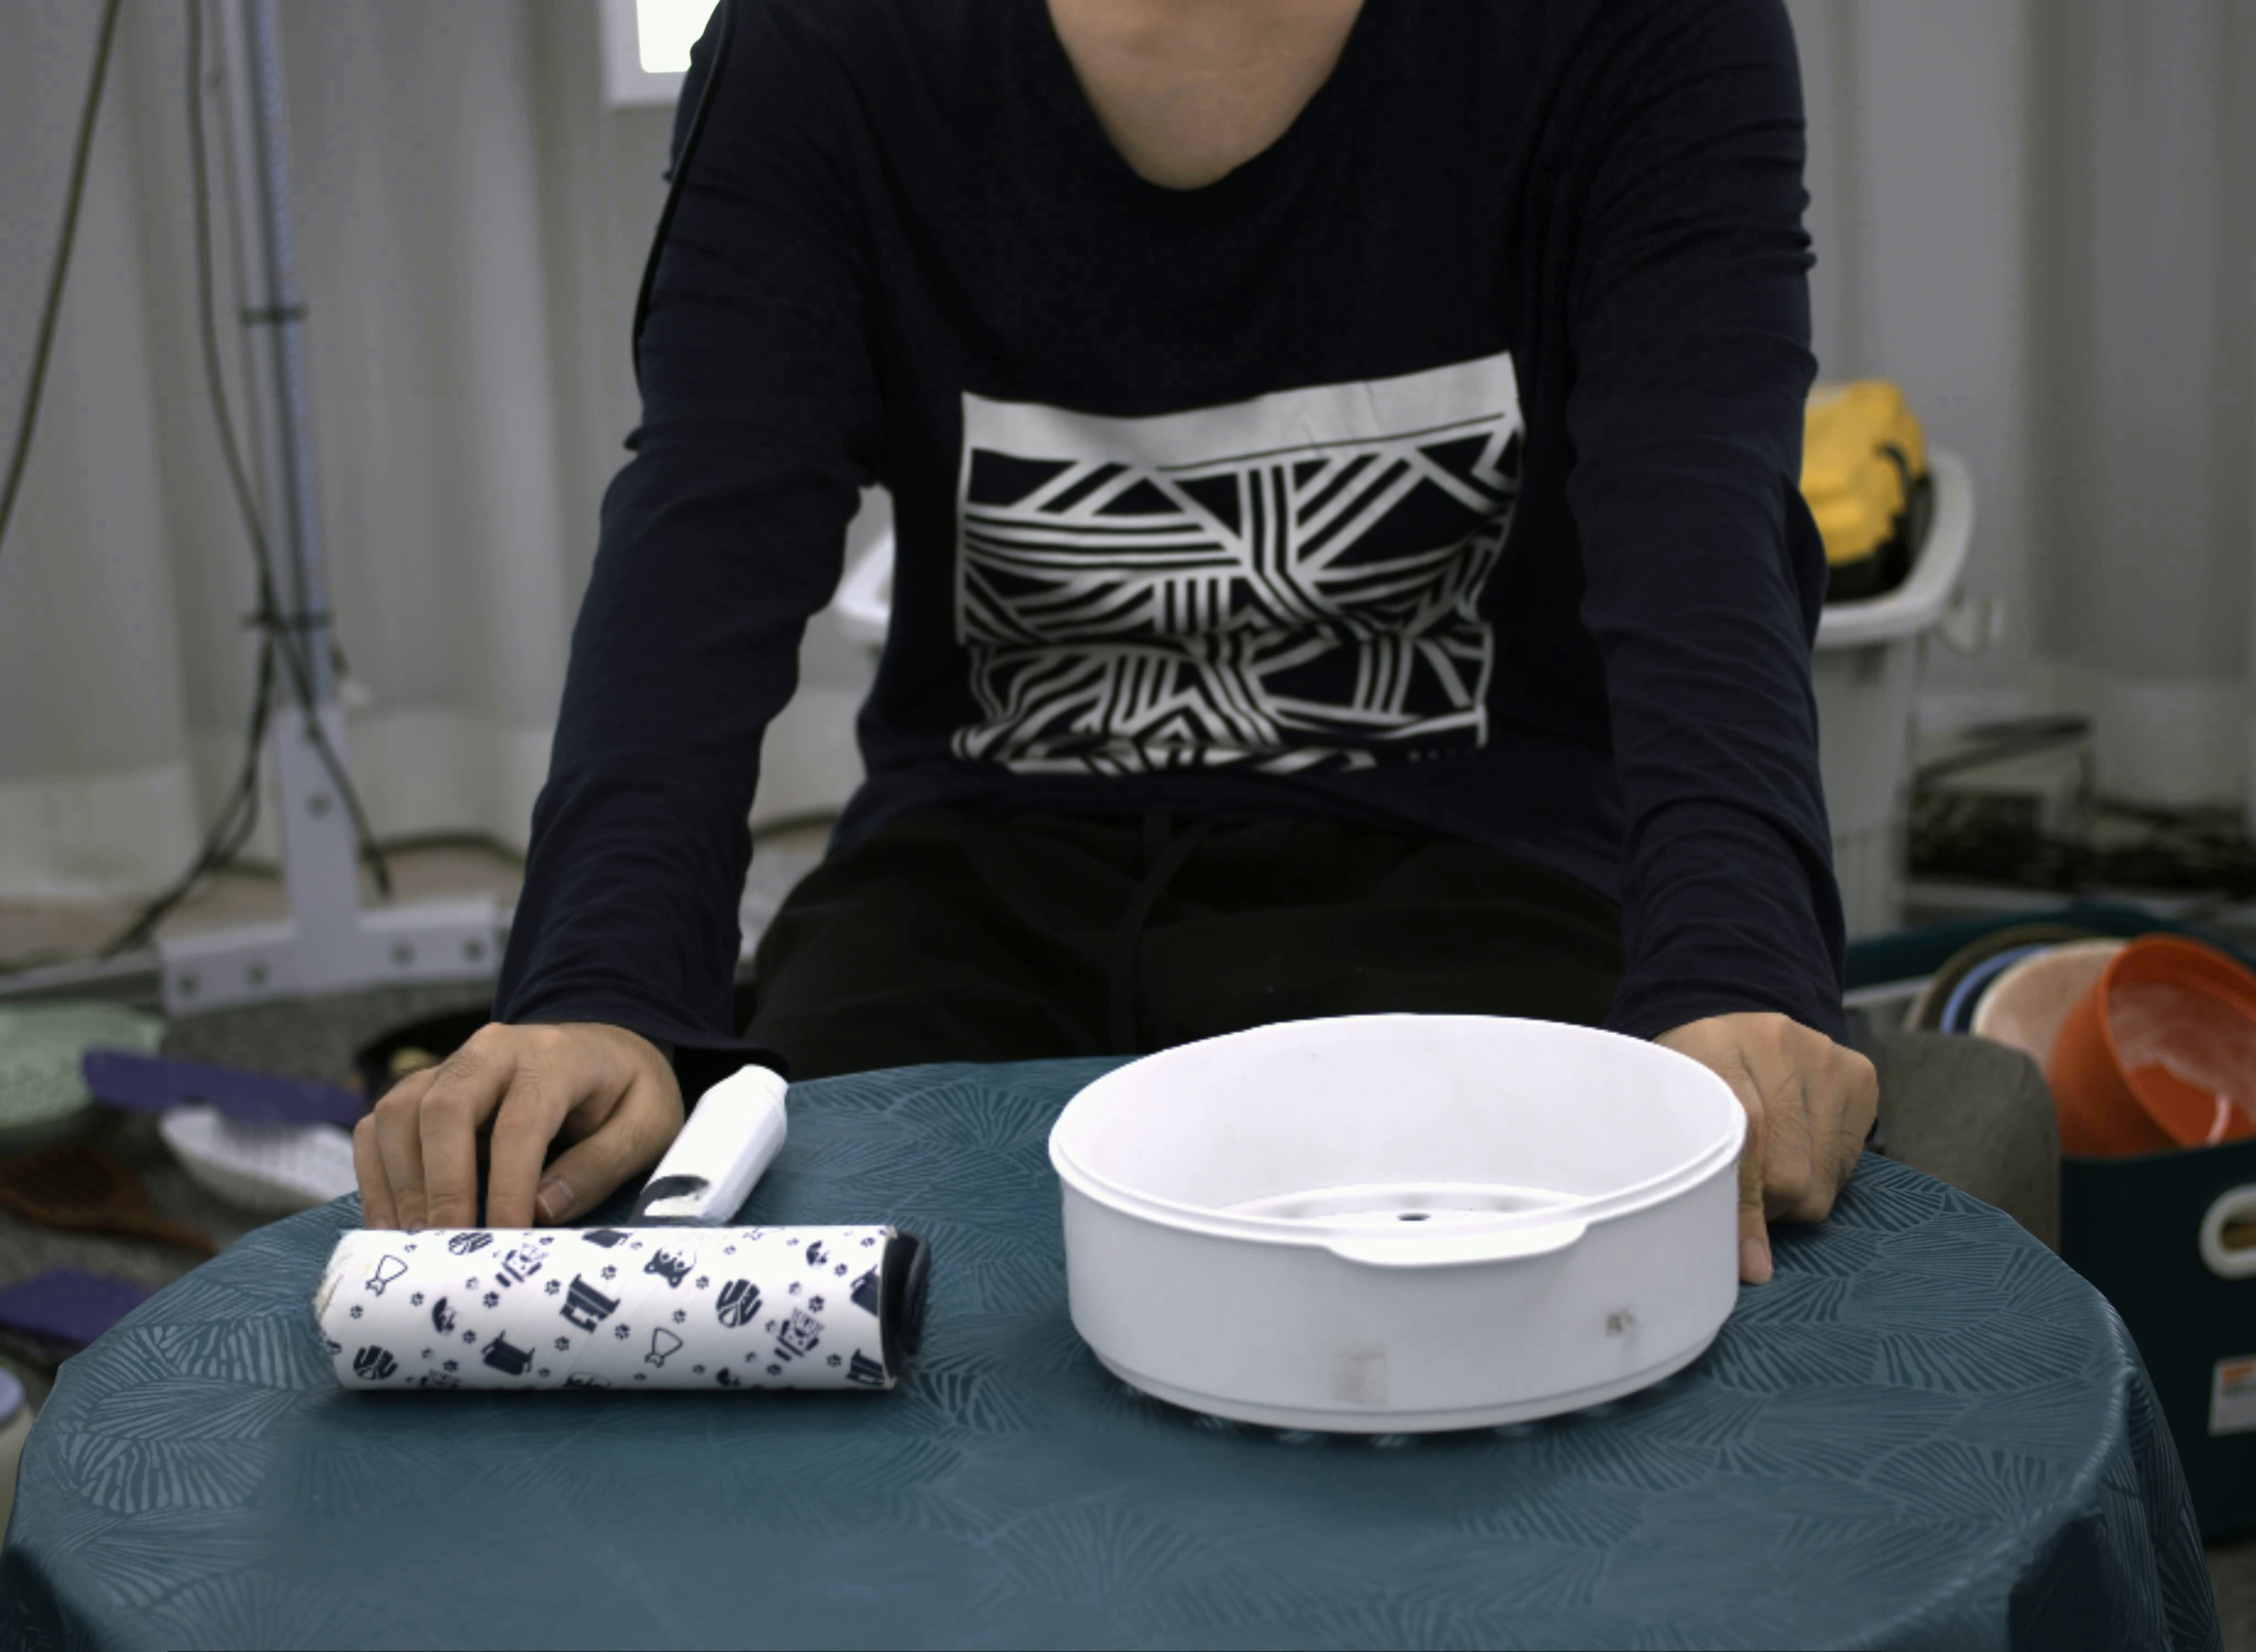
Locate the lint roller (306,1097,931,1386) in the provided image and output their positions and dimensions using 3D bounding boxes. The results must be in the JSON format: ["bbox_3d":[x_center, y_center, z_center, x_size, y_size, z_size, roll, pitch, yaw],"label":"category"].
[{"bbox_3d":[-0.137,0.116,1.664,0.176,0.050,0.248,-2,12,6],"label":"lint roller"}]

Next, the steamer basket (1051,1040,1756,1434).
[{"bbox_3d":[0.079,0.117,1.568,0.201,0.069,0.232,-3,12,-6],"label":"steamer basket"}]
